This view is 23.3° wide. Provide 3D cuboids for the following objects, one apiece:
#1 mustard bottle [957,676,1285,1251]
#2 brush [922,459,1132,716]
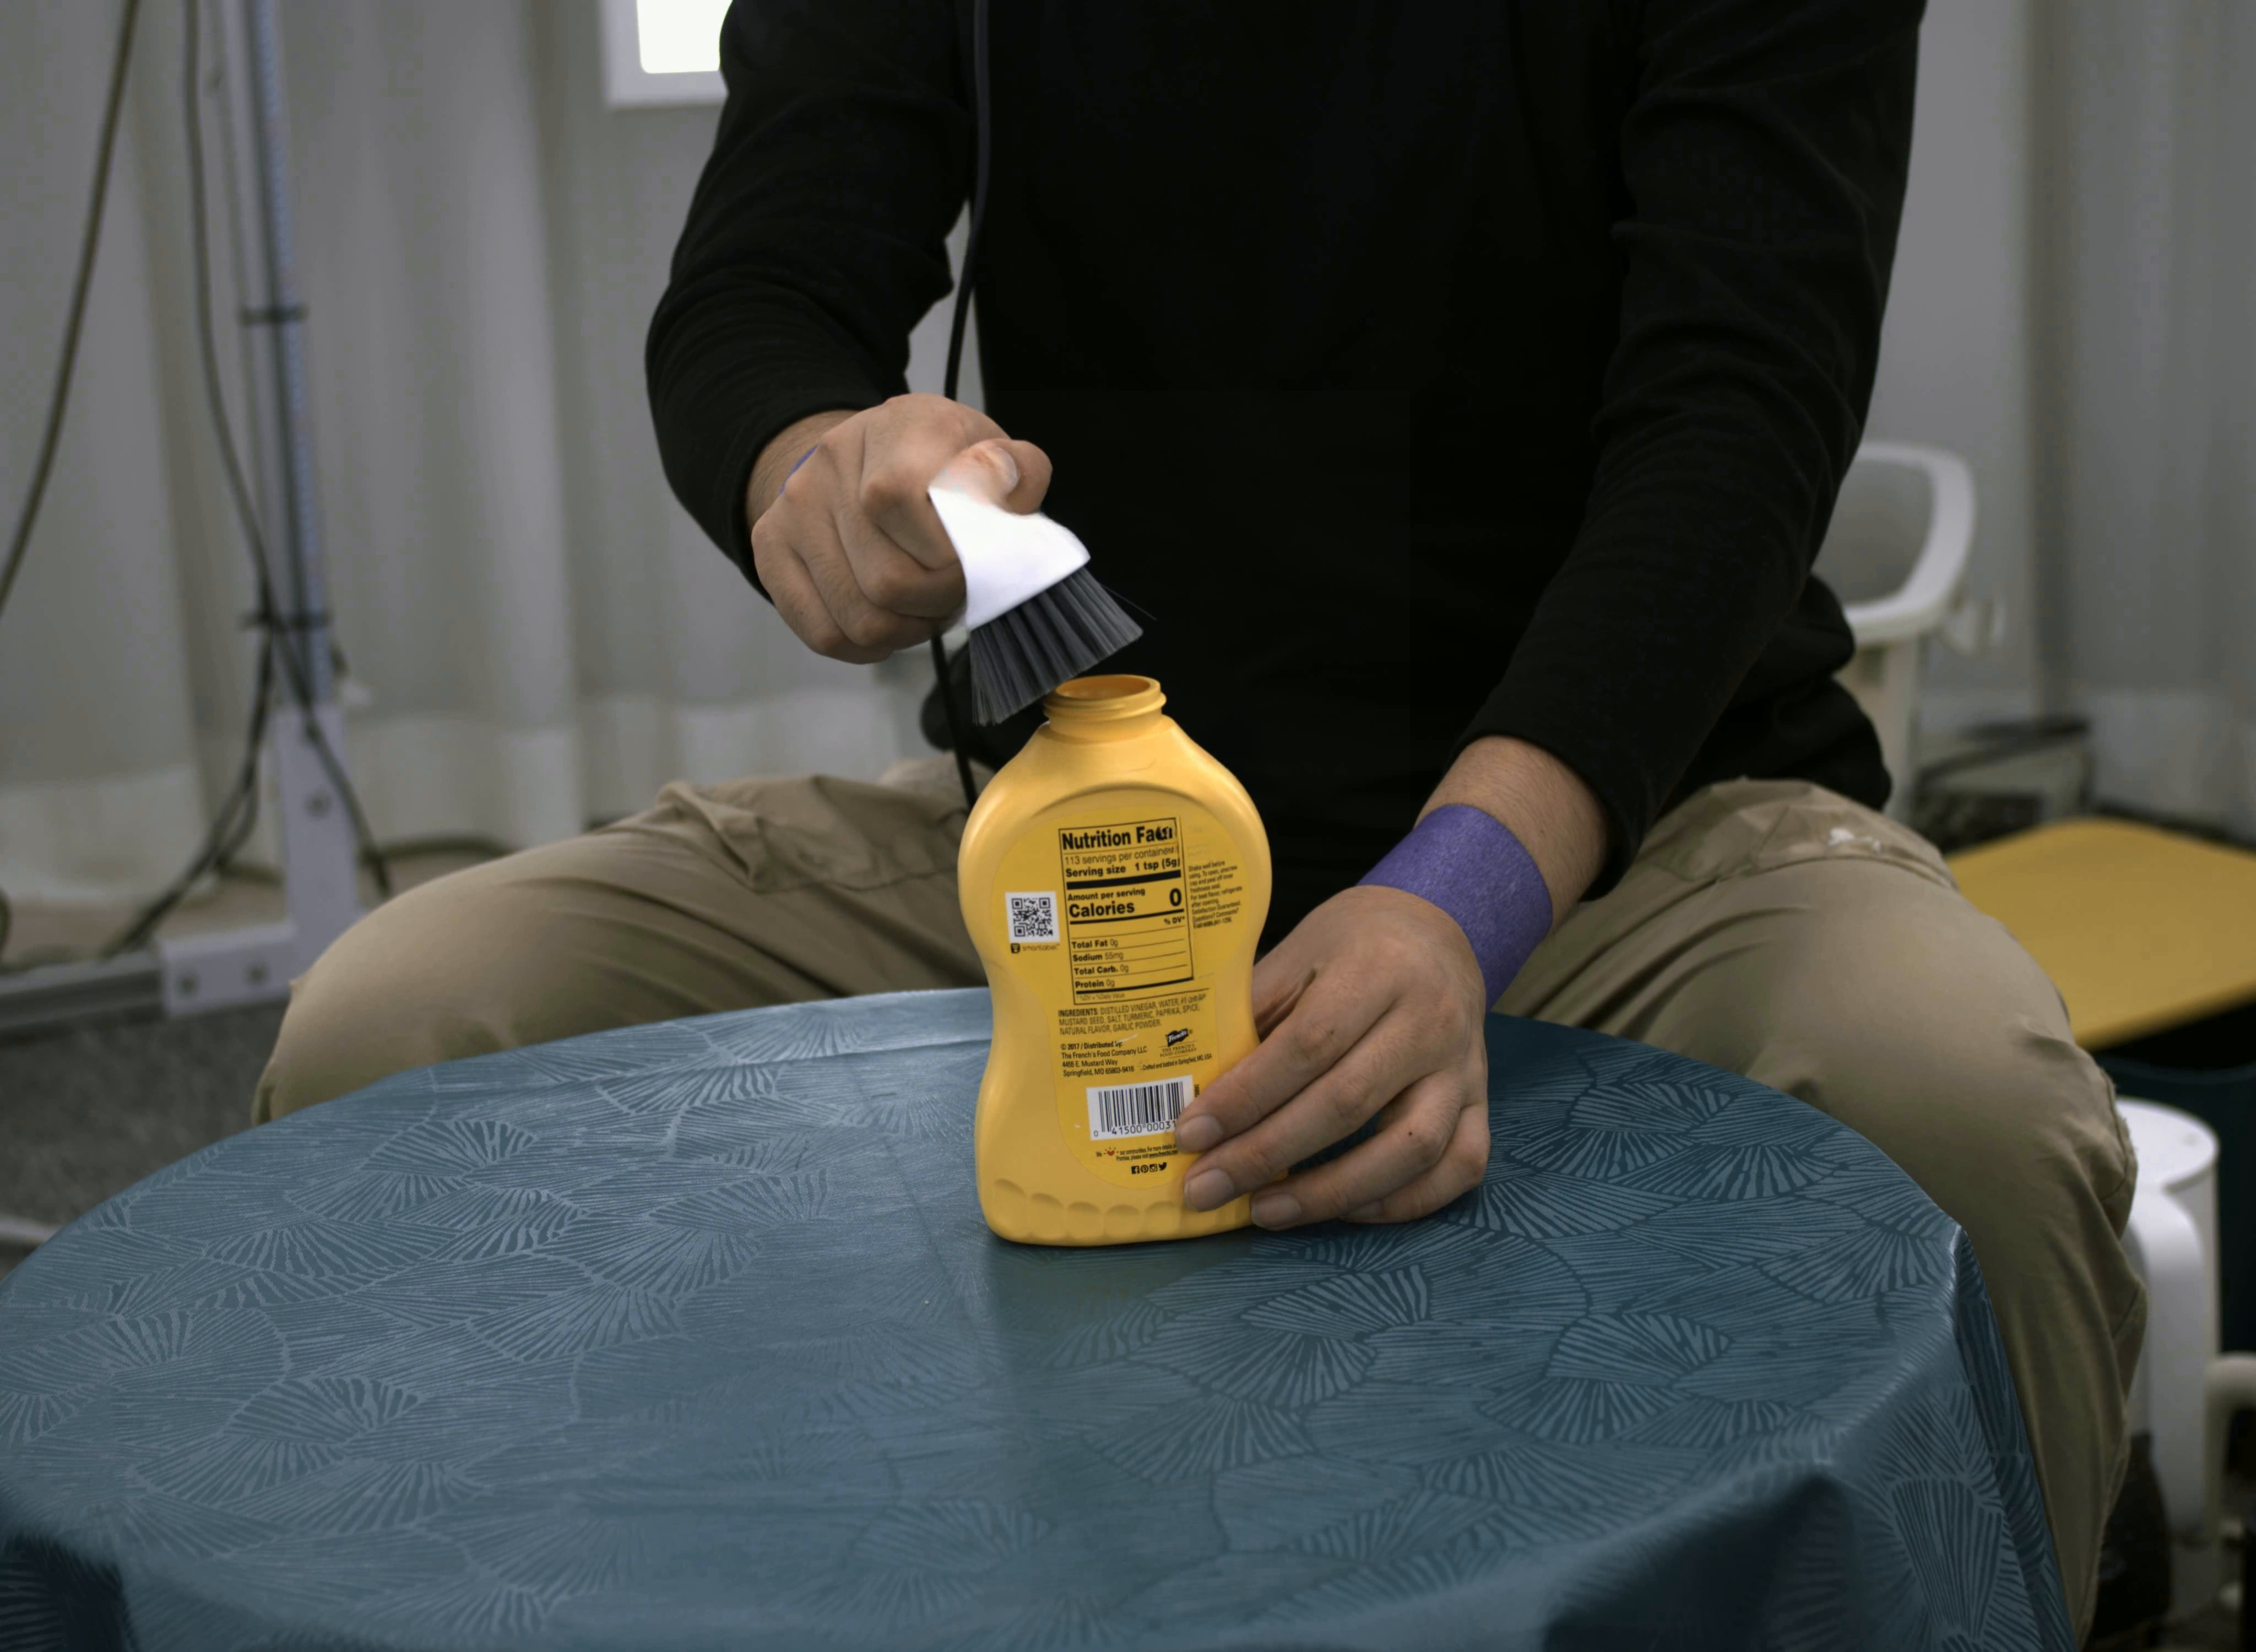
[{"bbox_3d":[-0.004,0.041,1.669,0.098,0.171,0.059,-6,11,-6],"label":"mustard bottle"},{"bbox_3d":[-0.038,-0.077,1.652,0.050,0.072,0.099,-30,2,1],"label":"brush"}]
